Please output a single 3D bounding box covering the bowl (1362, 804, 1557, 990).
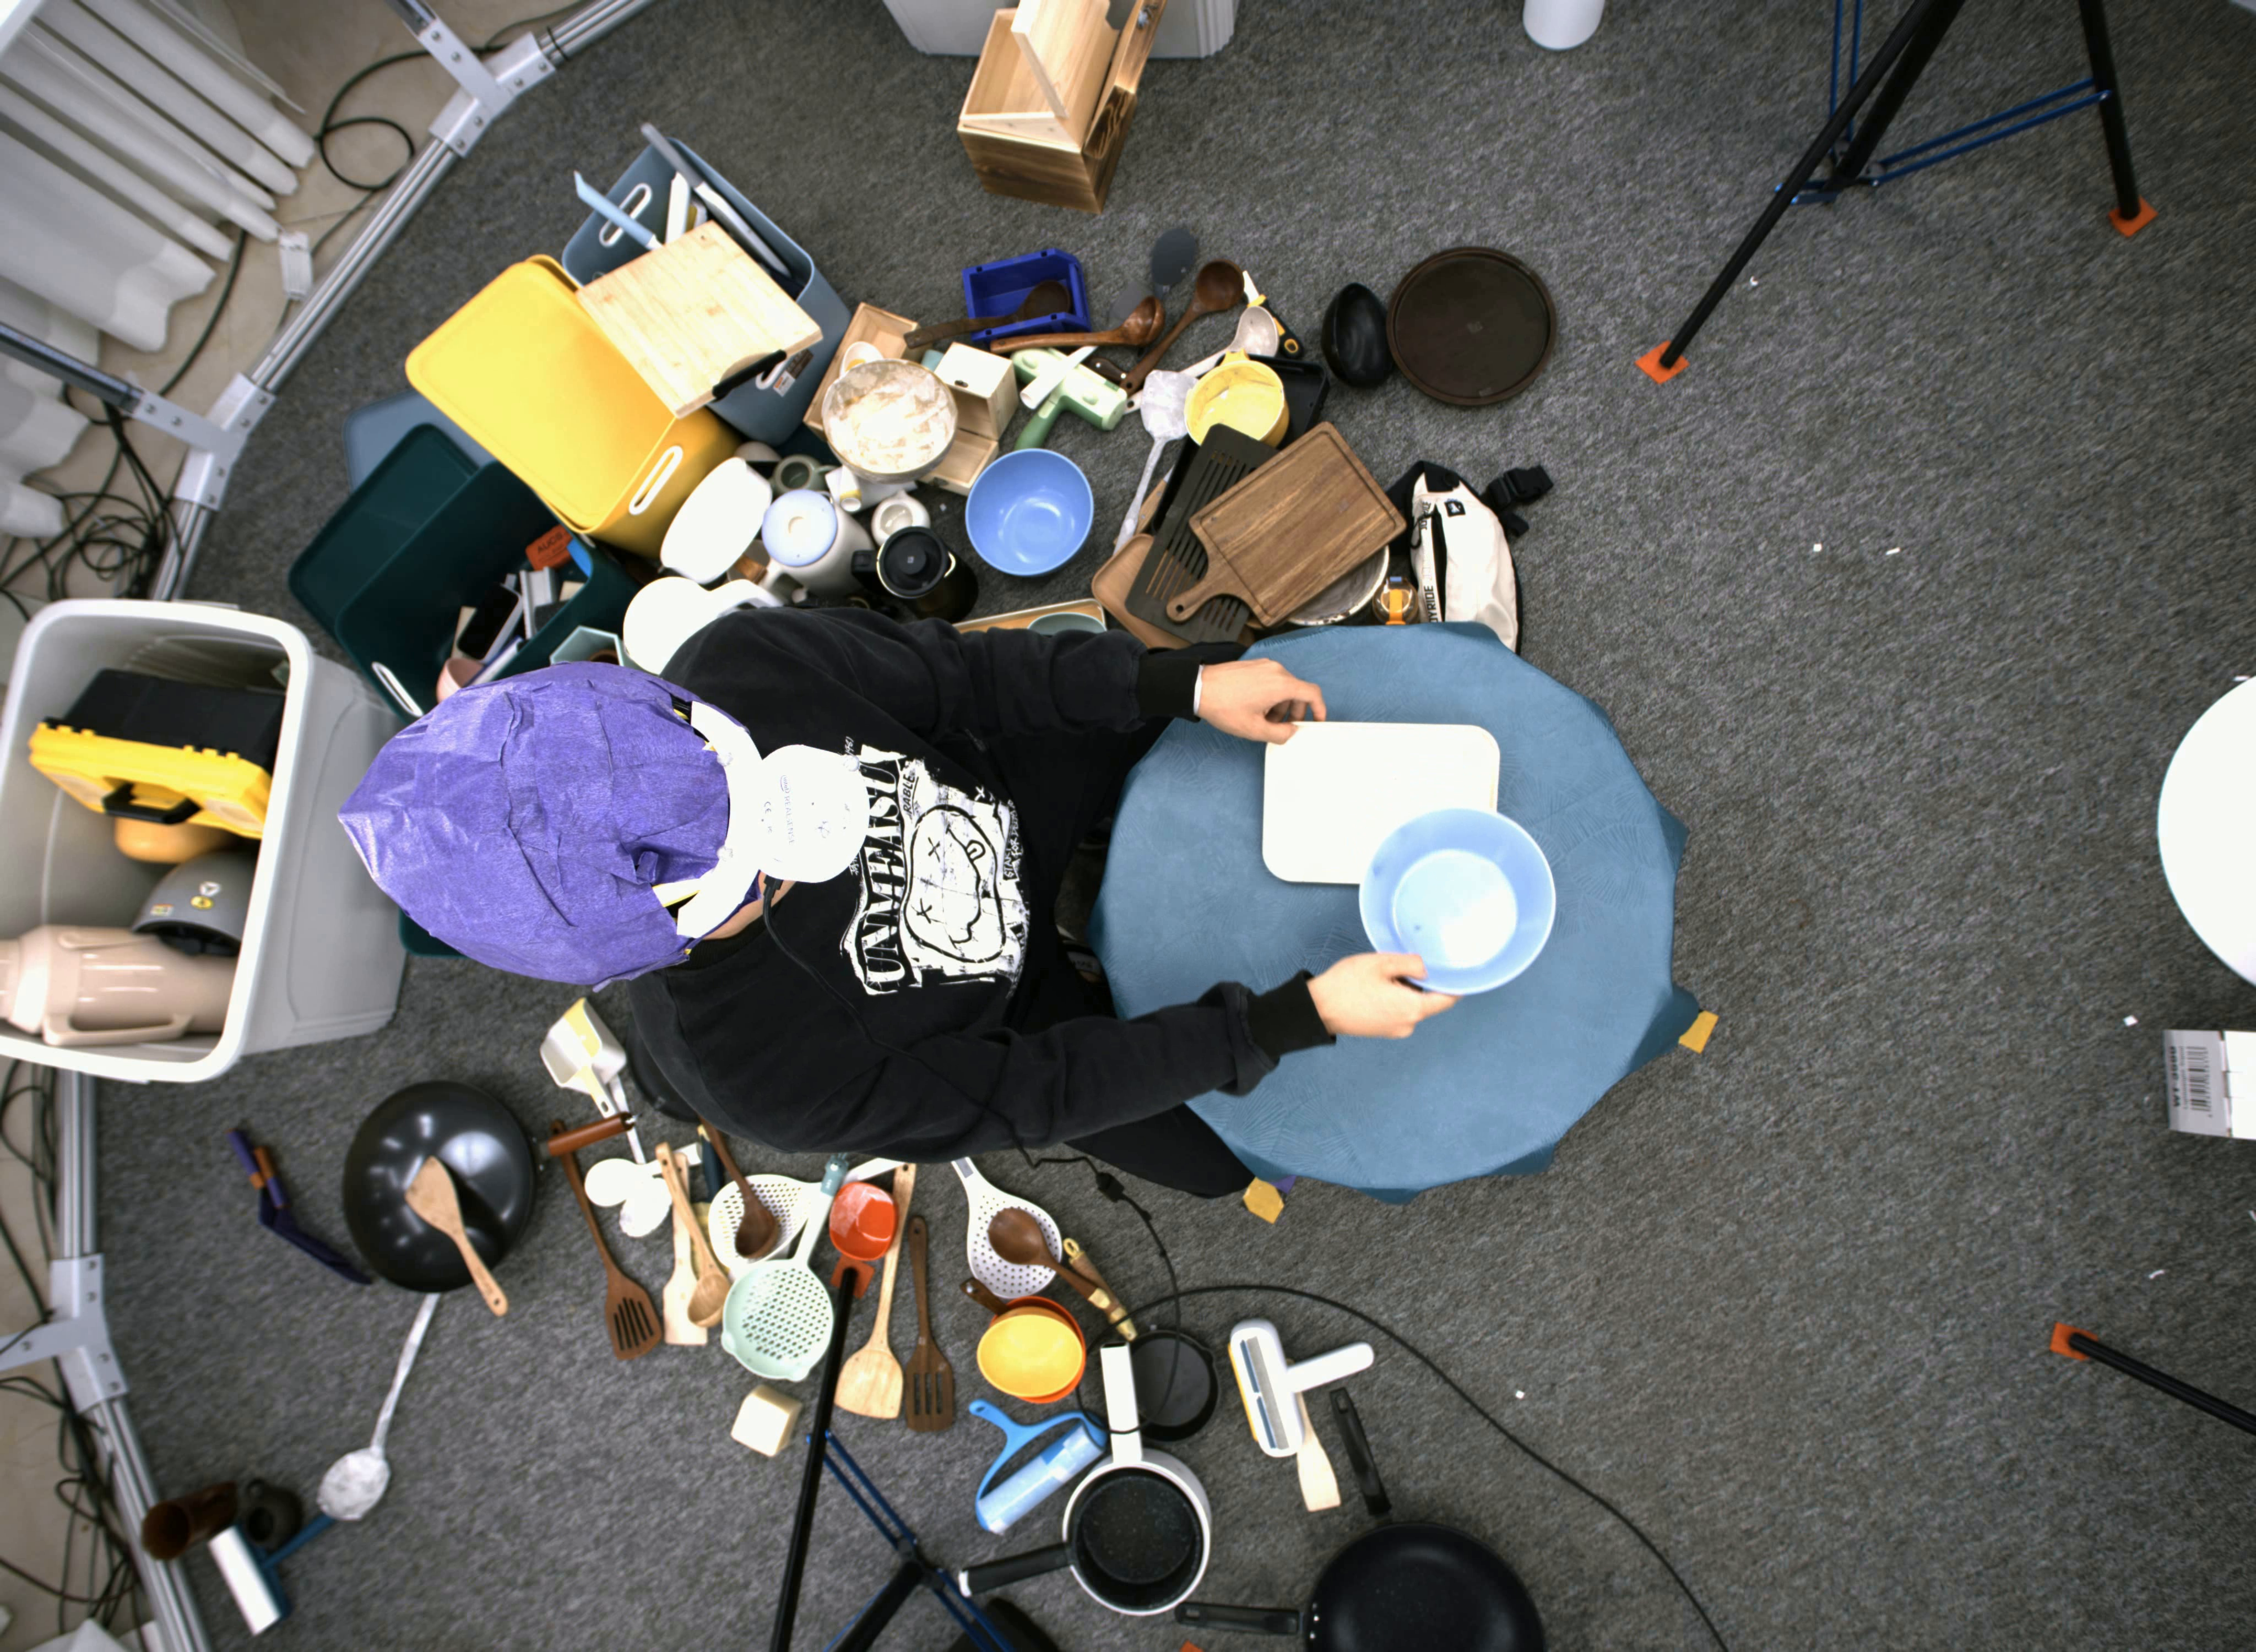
[{"bbox_3d":[0.308,0.070,1.292,0.177,0.071,0.174,-3,76,11],"label":"bowl"}]

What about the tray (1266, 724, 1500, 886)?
[{"bbox_3d":[0.264,-0.022,1.439,0.240,0.017,0.173,2,102,8],"label":"tray"}]
